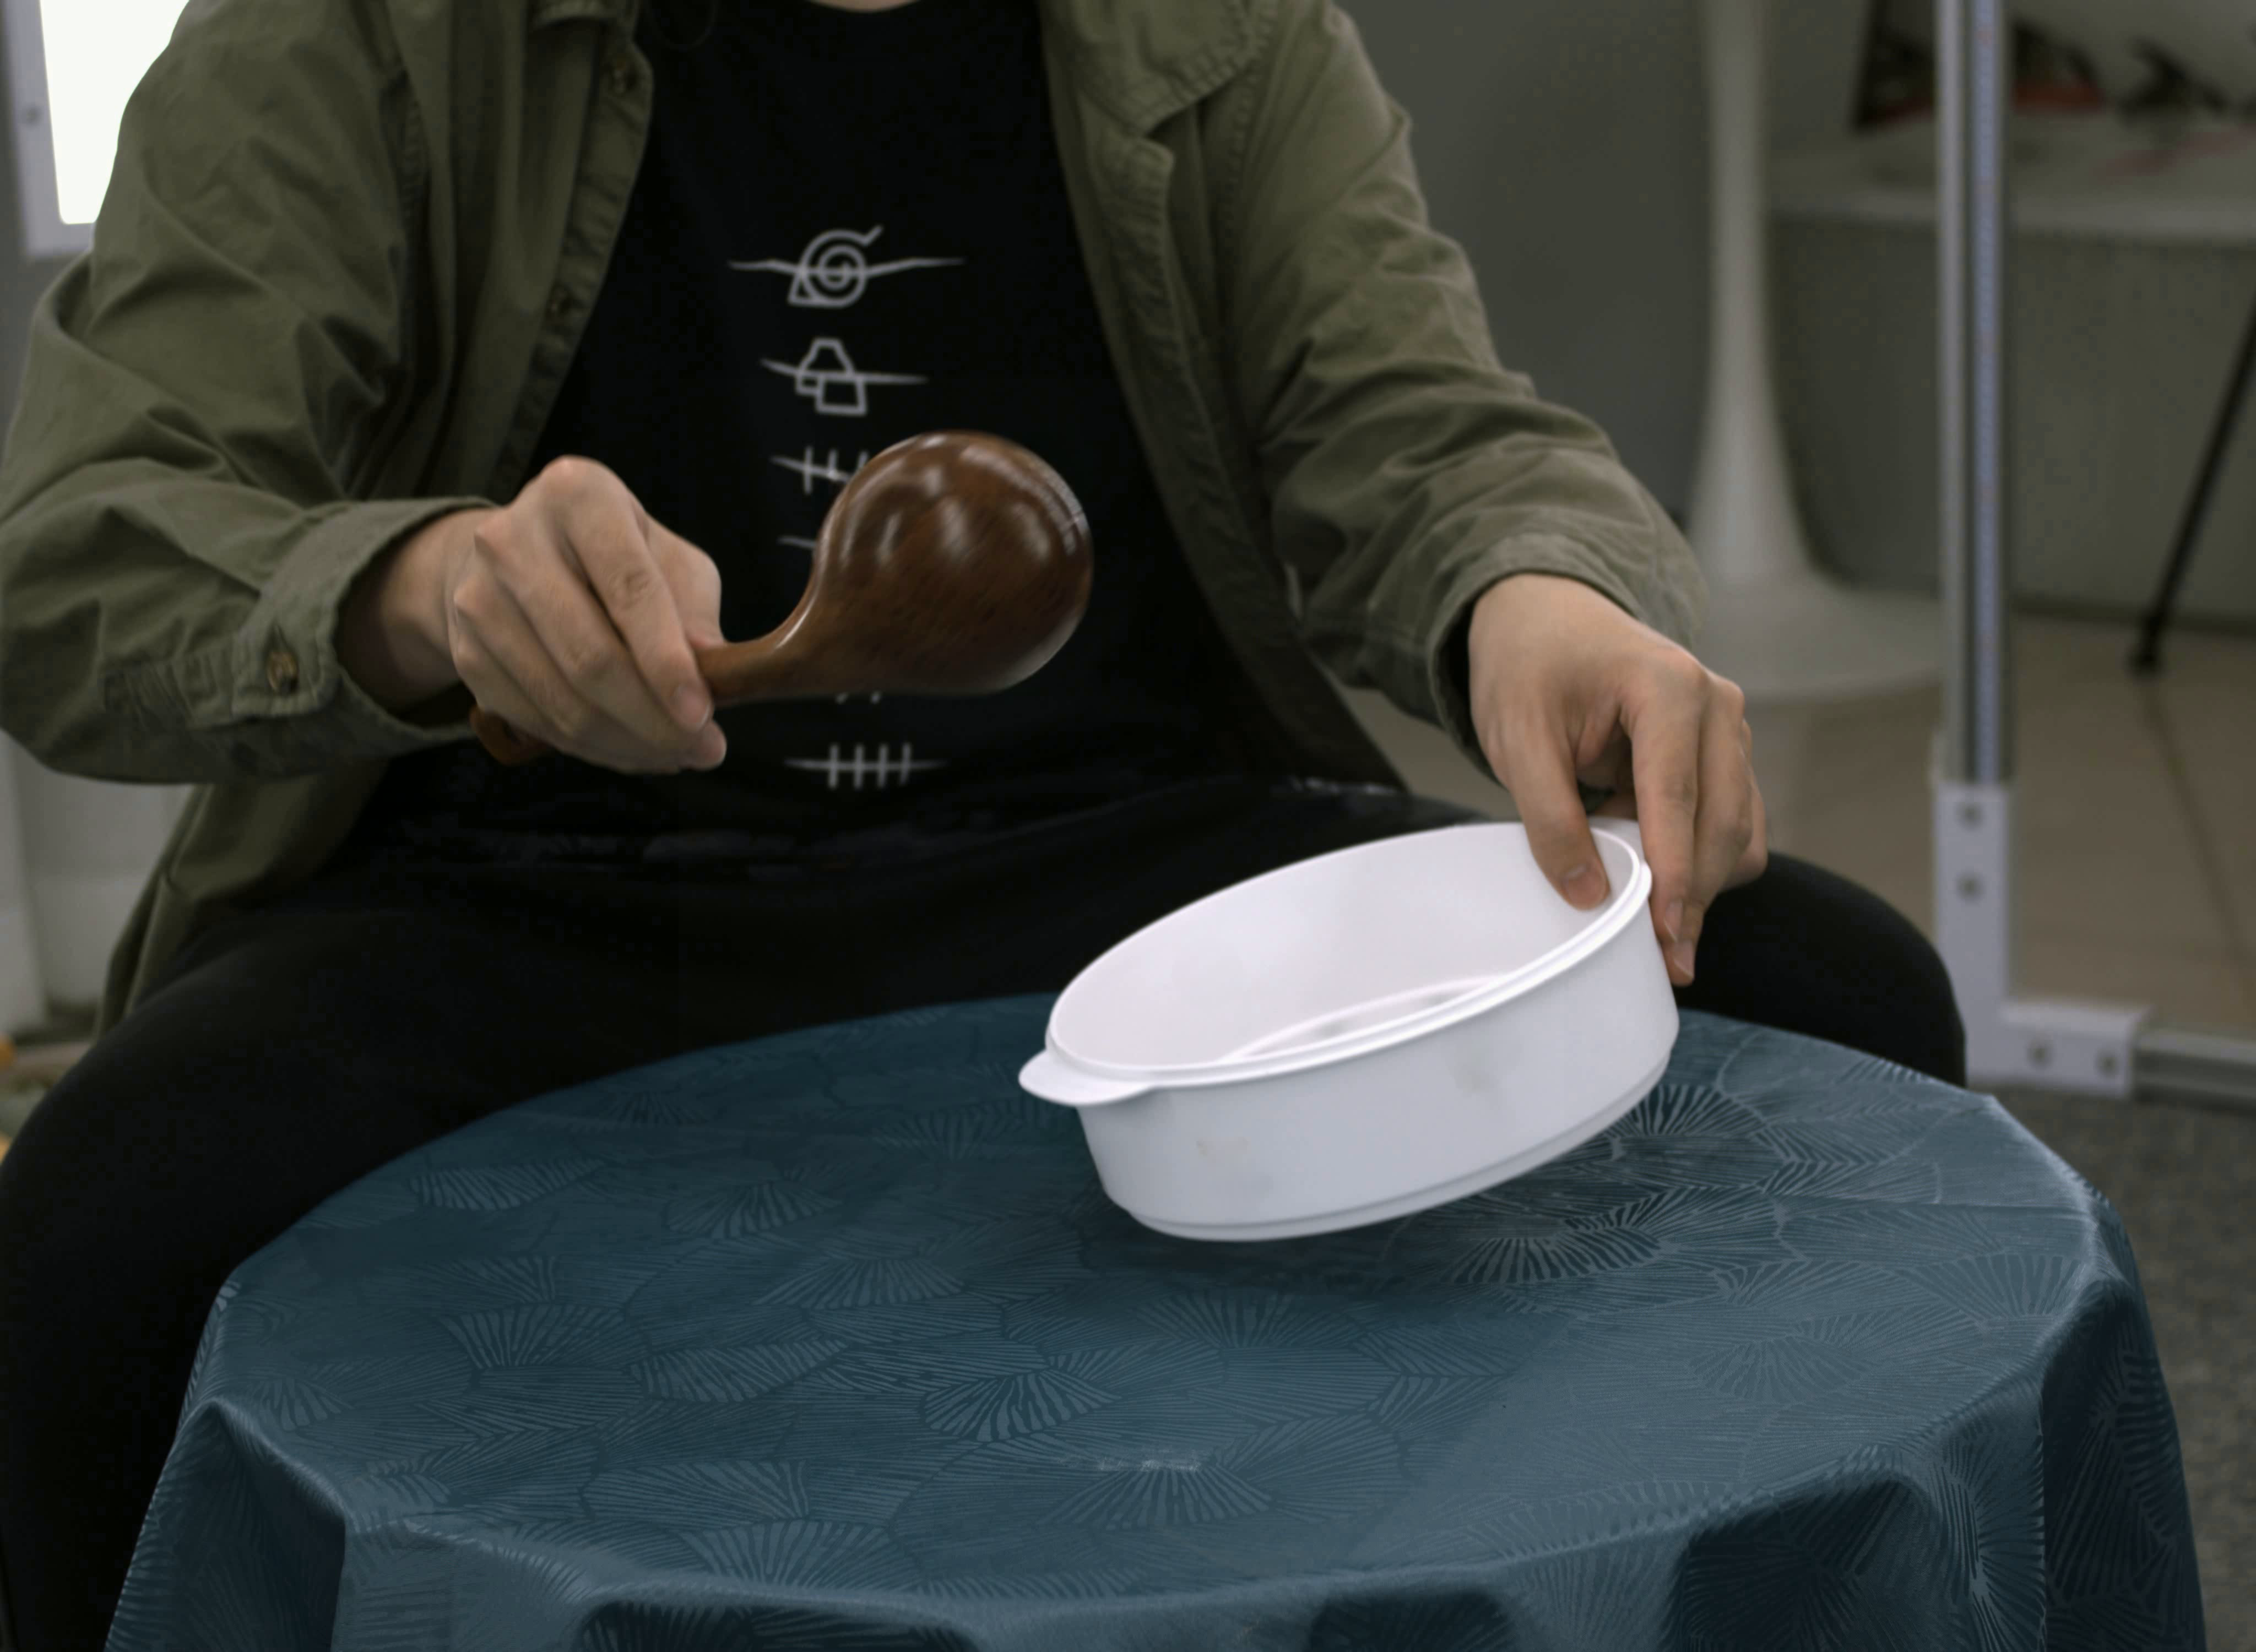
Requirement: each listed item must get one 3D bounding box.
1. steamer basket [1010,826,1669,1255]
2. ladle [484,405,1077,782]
[{"bbox_3d":[0.074,0.069,1.715,0.226,0.070,0.204,-24,16,-22],"label":"steamer basket"},{"bbox_3d":[-0.112,-0.066,1.650,0.076,0.081,0.277,-47,18,-28],"label":"ladle"}]
